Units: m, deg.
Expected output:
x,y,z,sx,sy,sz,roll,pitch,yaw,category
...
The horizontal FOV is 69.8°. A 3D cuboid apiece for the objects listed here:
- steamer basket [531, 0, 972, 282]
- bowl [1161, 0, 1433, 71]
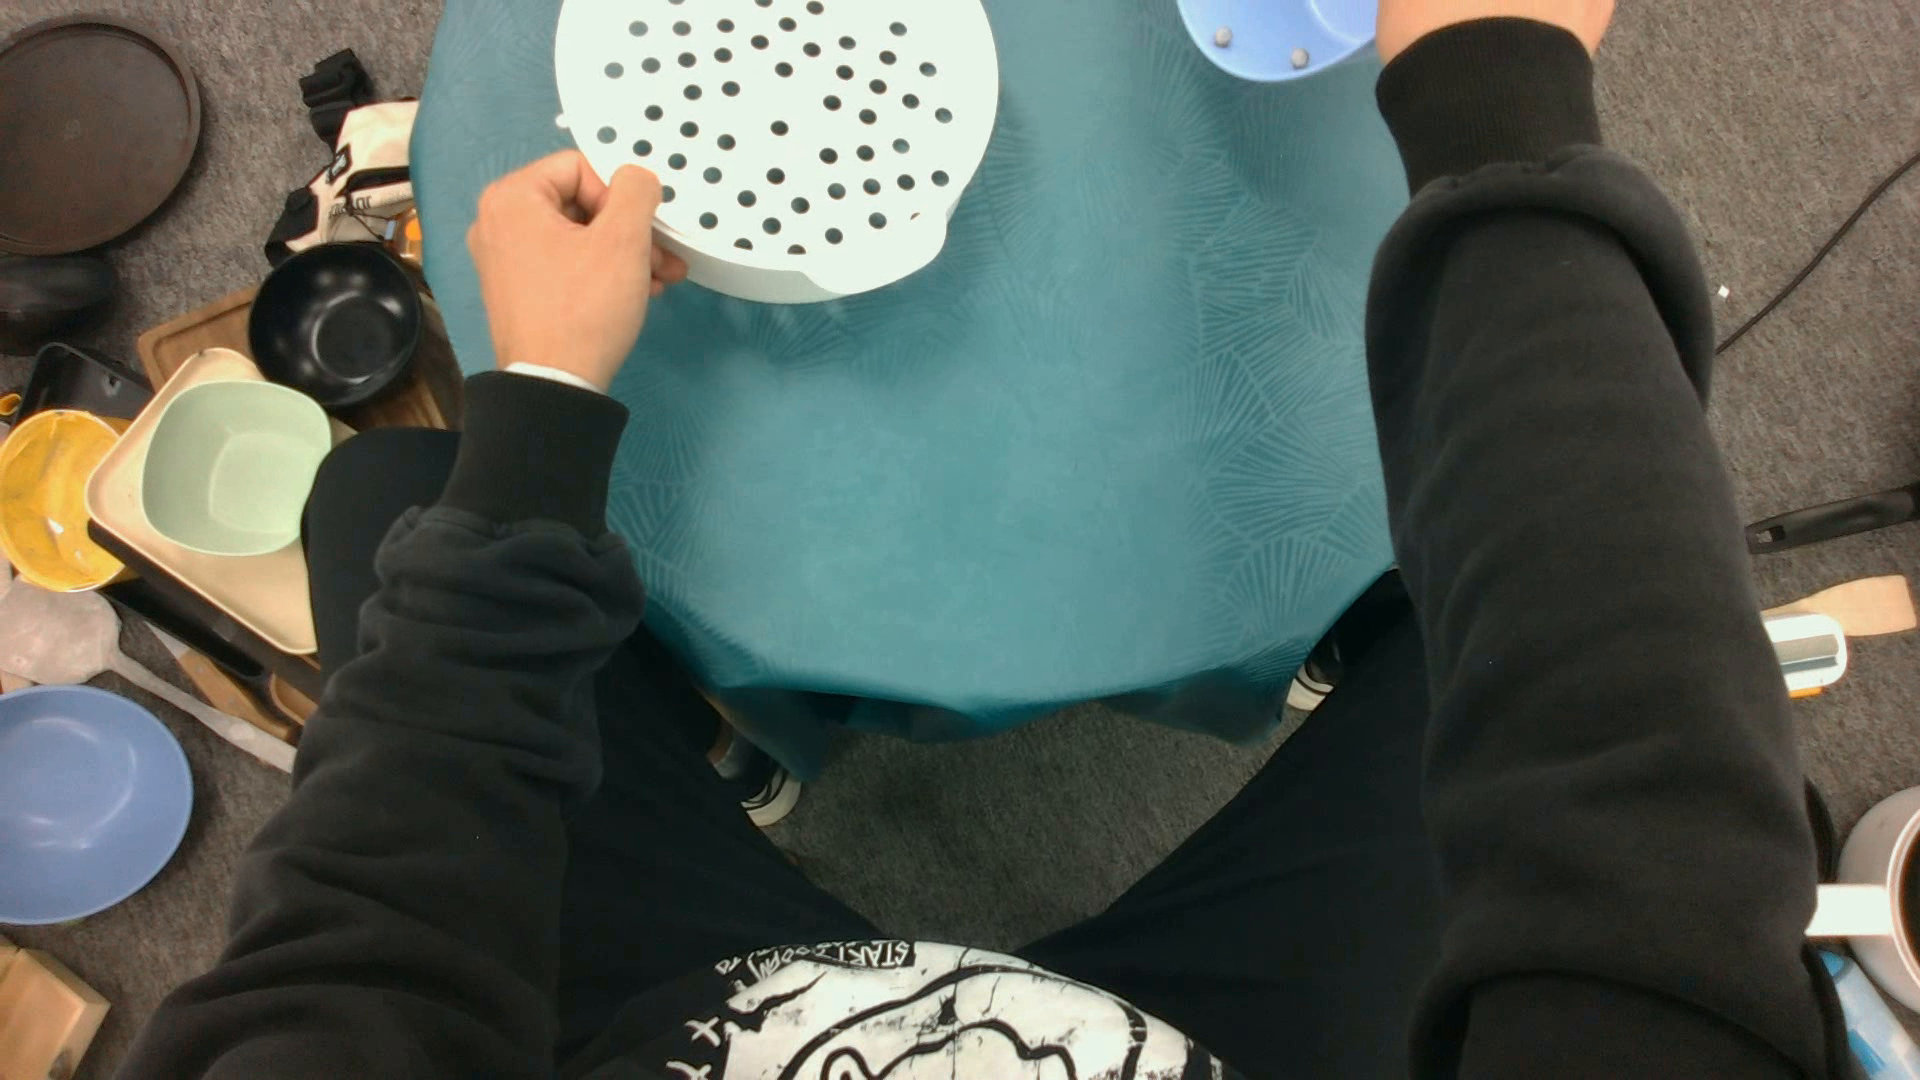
x,y,z,sx,sy,sz,roll,pitch,yaw,category
-0.098,-0.223,0.662,0.202,0.069,0.231,-26,81,-14,steamer basket
0.171,-0.292,0.616,0.070,0.175,0.176,3,76,-39,bowl
